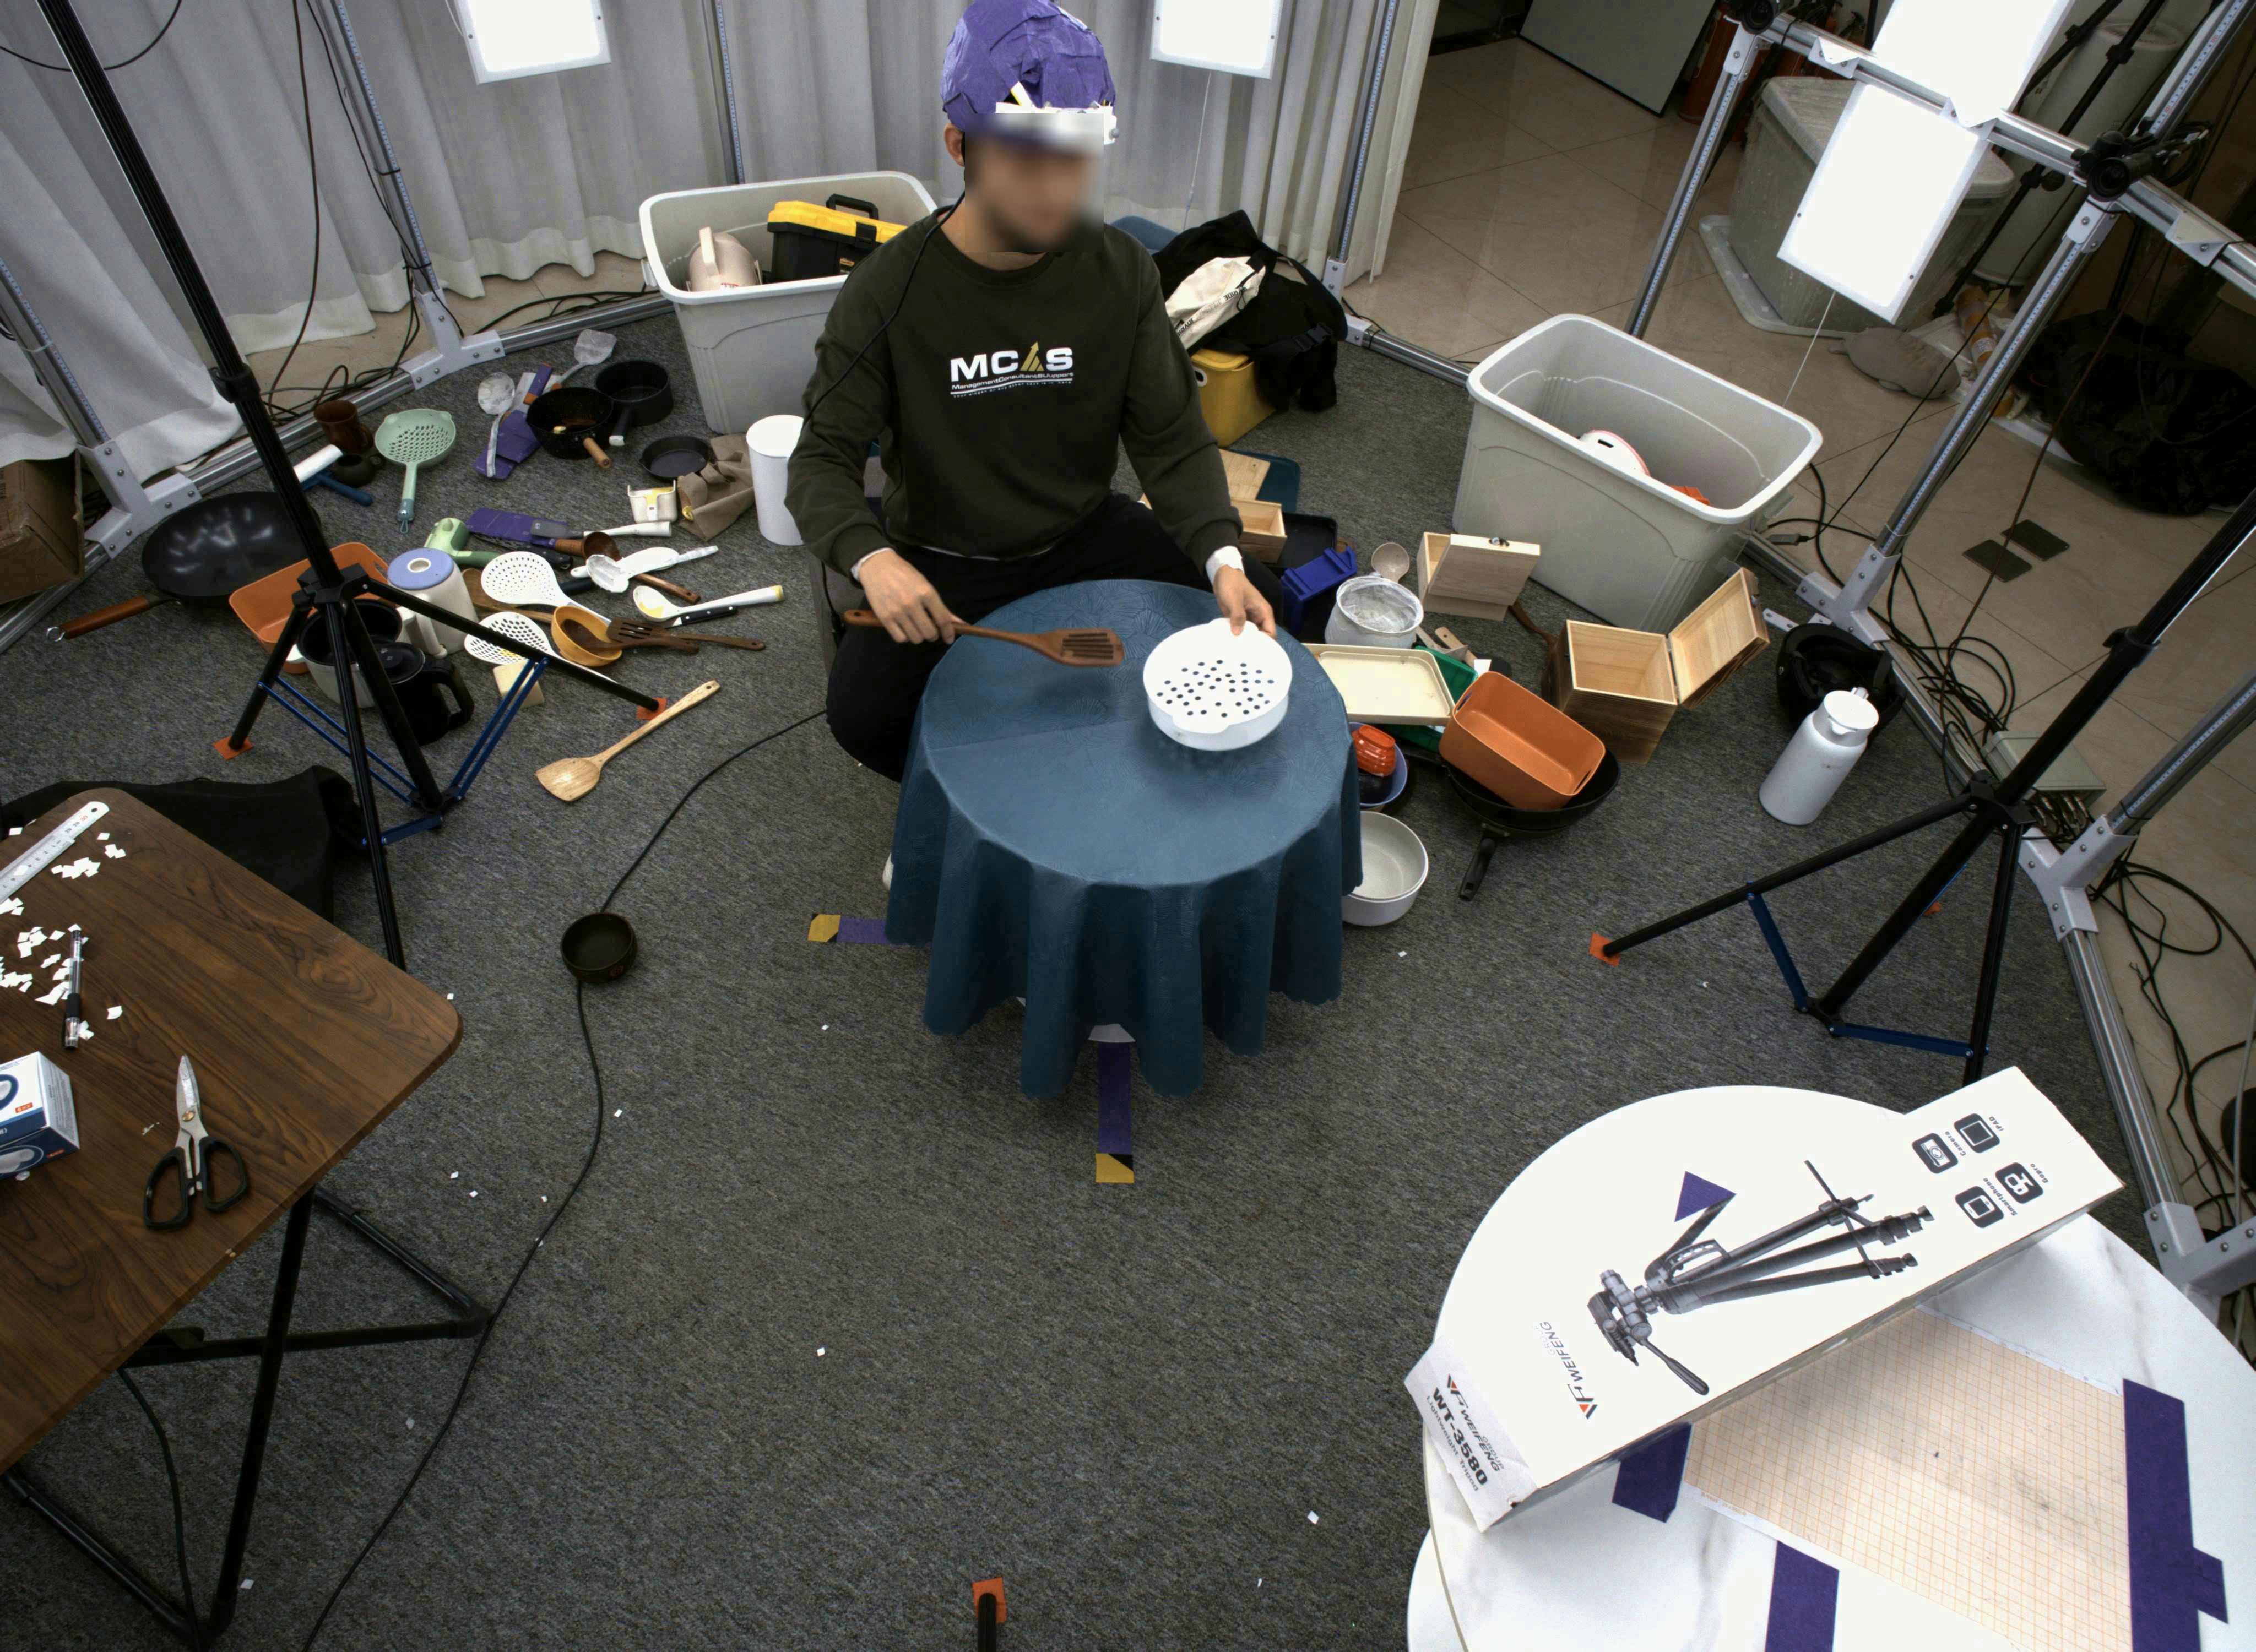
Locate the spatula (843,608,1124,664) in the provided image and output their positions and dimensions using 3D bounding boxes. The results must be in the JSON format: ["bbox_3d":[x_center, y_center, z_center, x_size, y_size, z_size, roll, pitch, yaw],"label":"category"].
[{"bbox_3d":[-0.191,-0.264,1.757,0.383,0.023,0.088,4,43,-19],"label":"spatula"}]

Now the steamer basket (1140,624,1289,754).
[{"bbox_3d":[0.118,-0.185,1.761,0.202,0.067,0.235,11,47,14],"label":"steamer basket"}]
